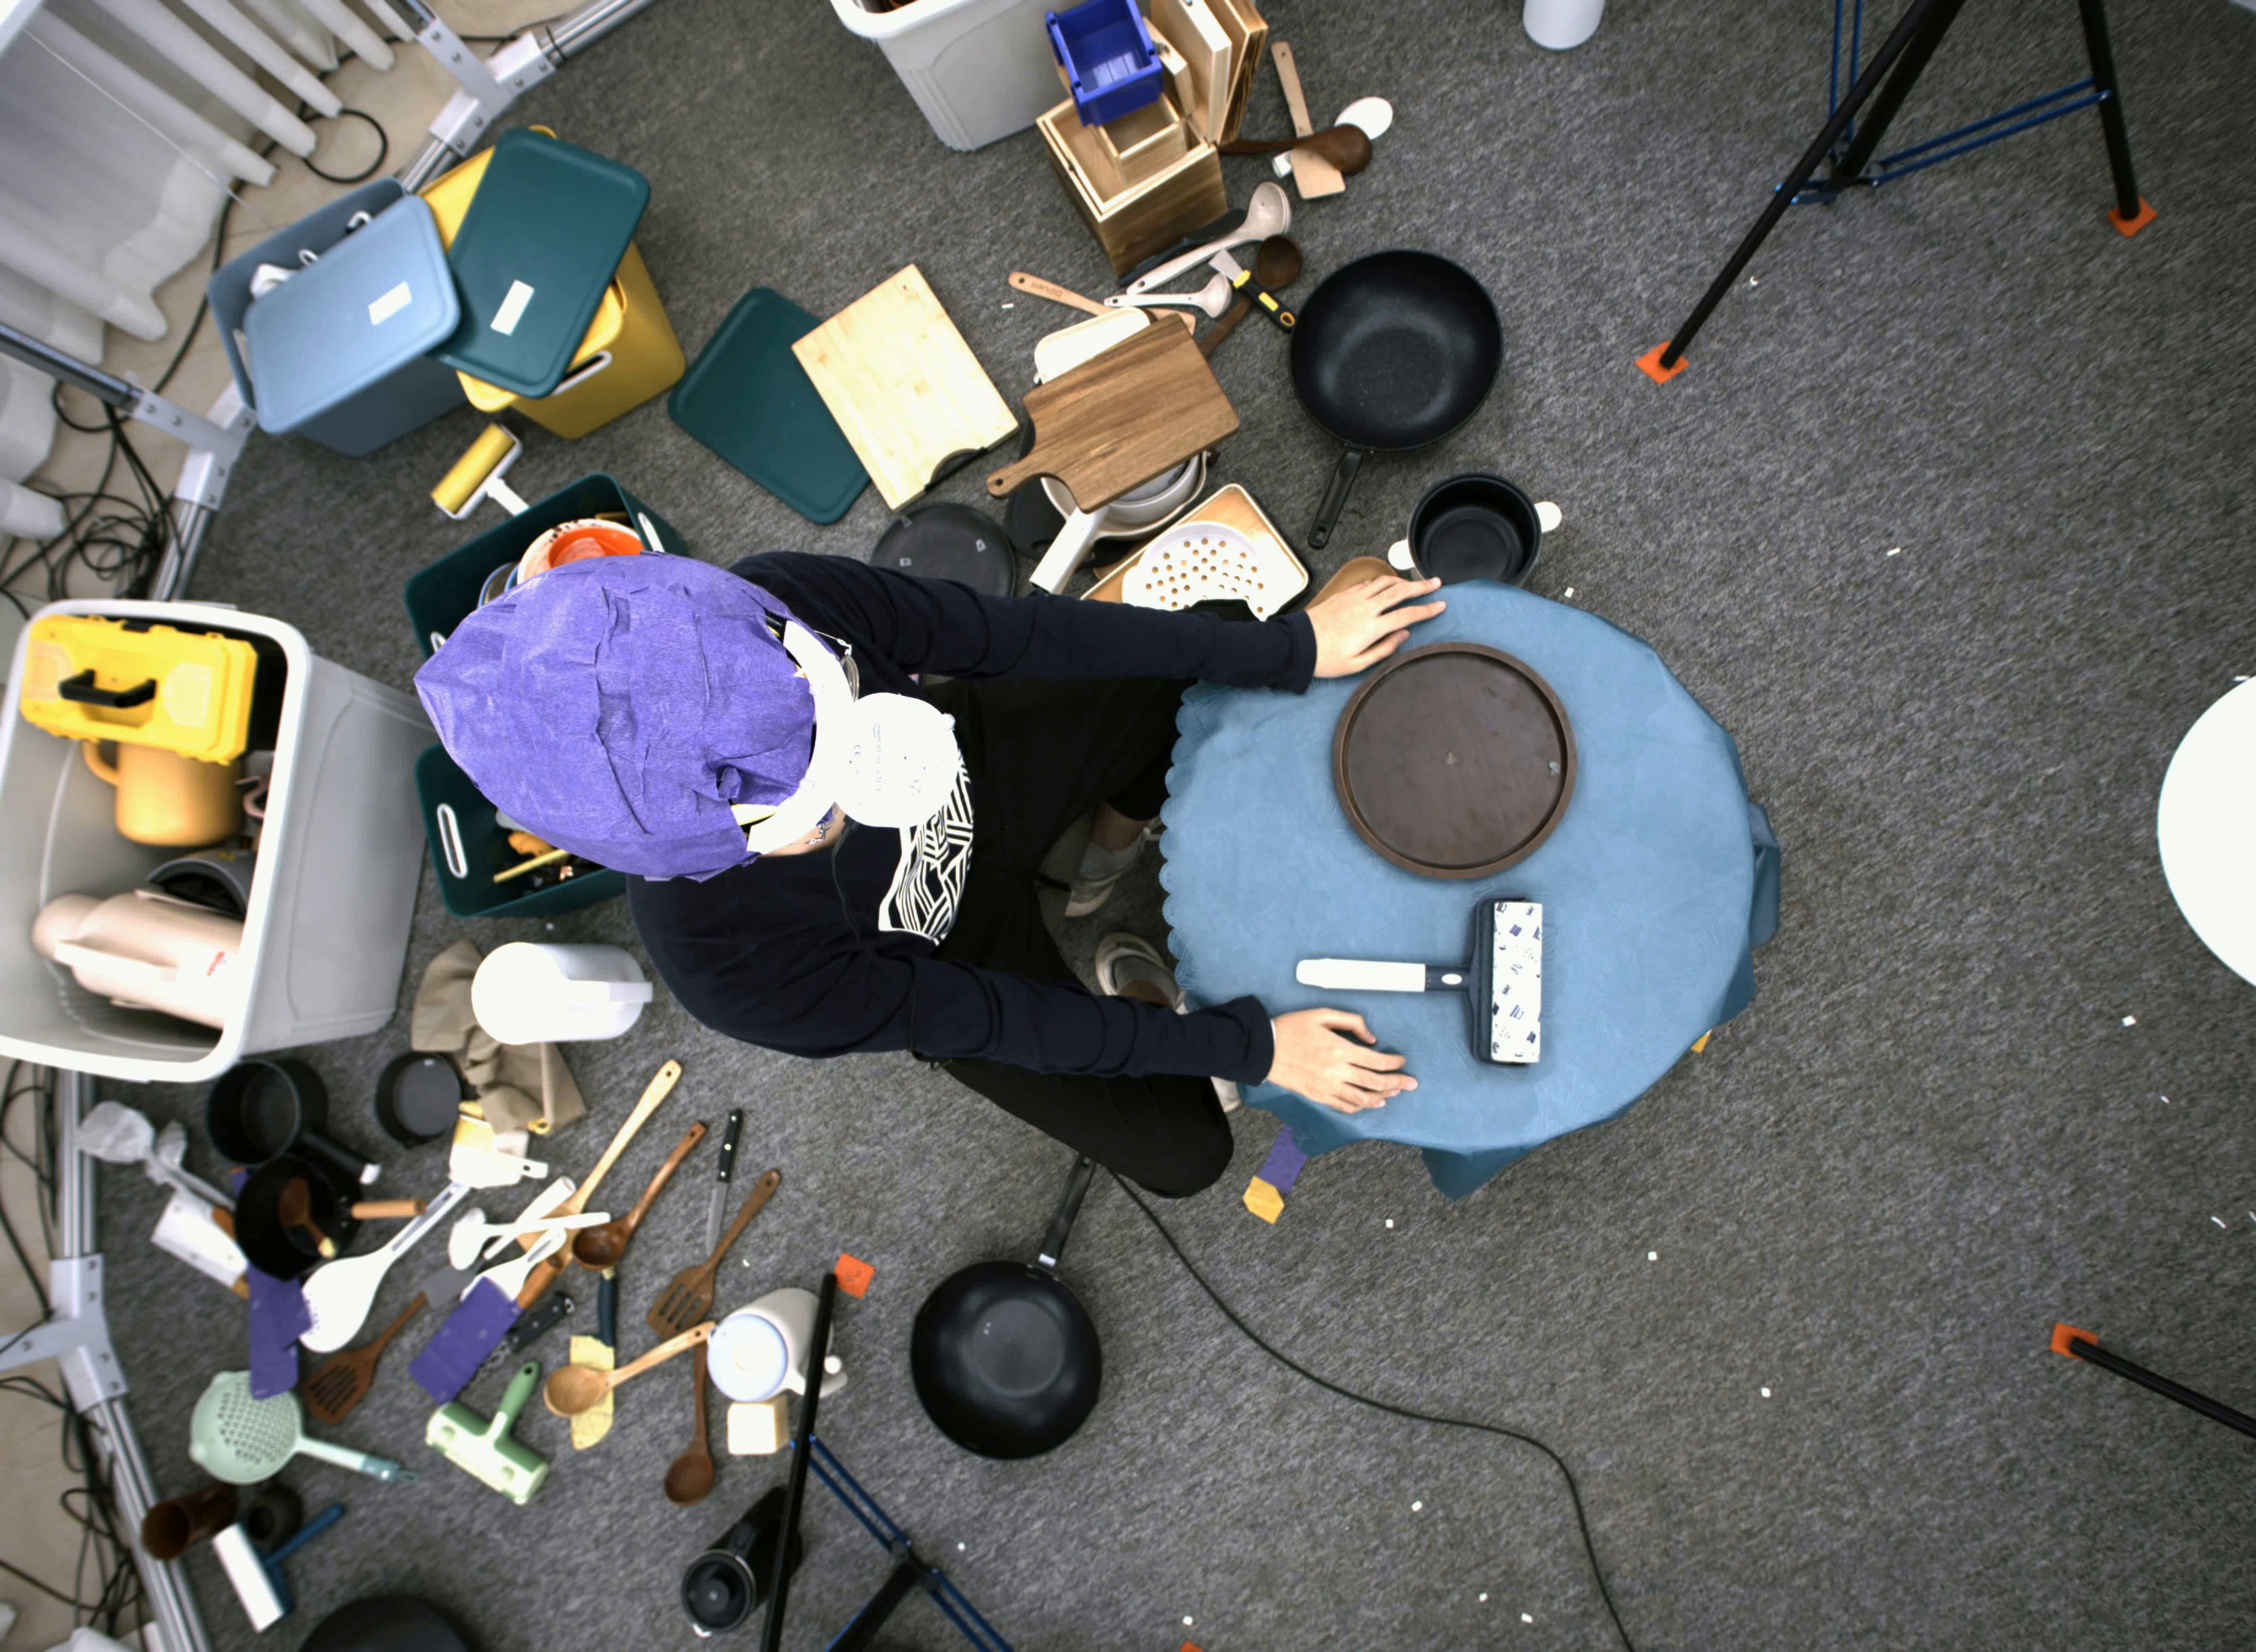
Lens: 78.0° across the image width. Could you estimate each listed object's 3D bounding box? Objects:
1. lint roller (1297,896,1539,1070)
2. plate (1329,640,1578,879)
[{"bbox_3d":[0.297,0.157,1.430,0.248,0.050,0.176,0,88,14],"label":"lint roller"},{"bbox_3d":[0.339,-0.072,1.444,0.256,0.029,0.253,-1,86,12],"label":"plate"}]
